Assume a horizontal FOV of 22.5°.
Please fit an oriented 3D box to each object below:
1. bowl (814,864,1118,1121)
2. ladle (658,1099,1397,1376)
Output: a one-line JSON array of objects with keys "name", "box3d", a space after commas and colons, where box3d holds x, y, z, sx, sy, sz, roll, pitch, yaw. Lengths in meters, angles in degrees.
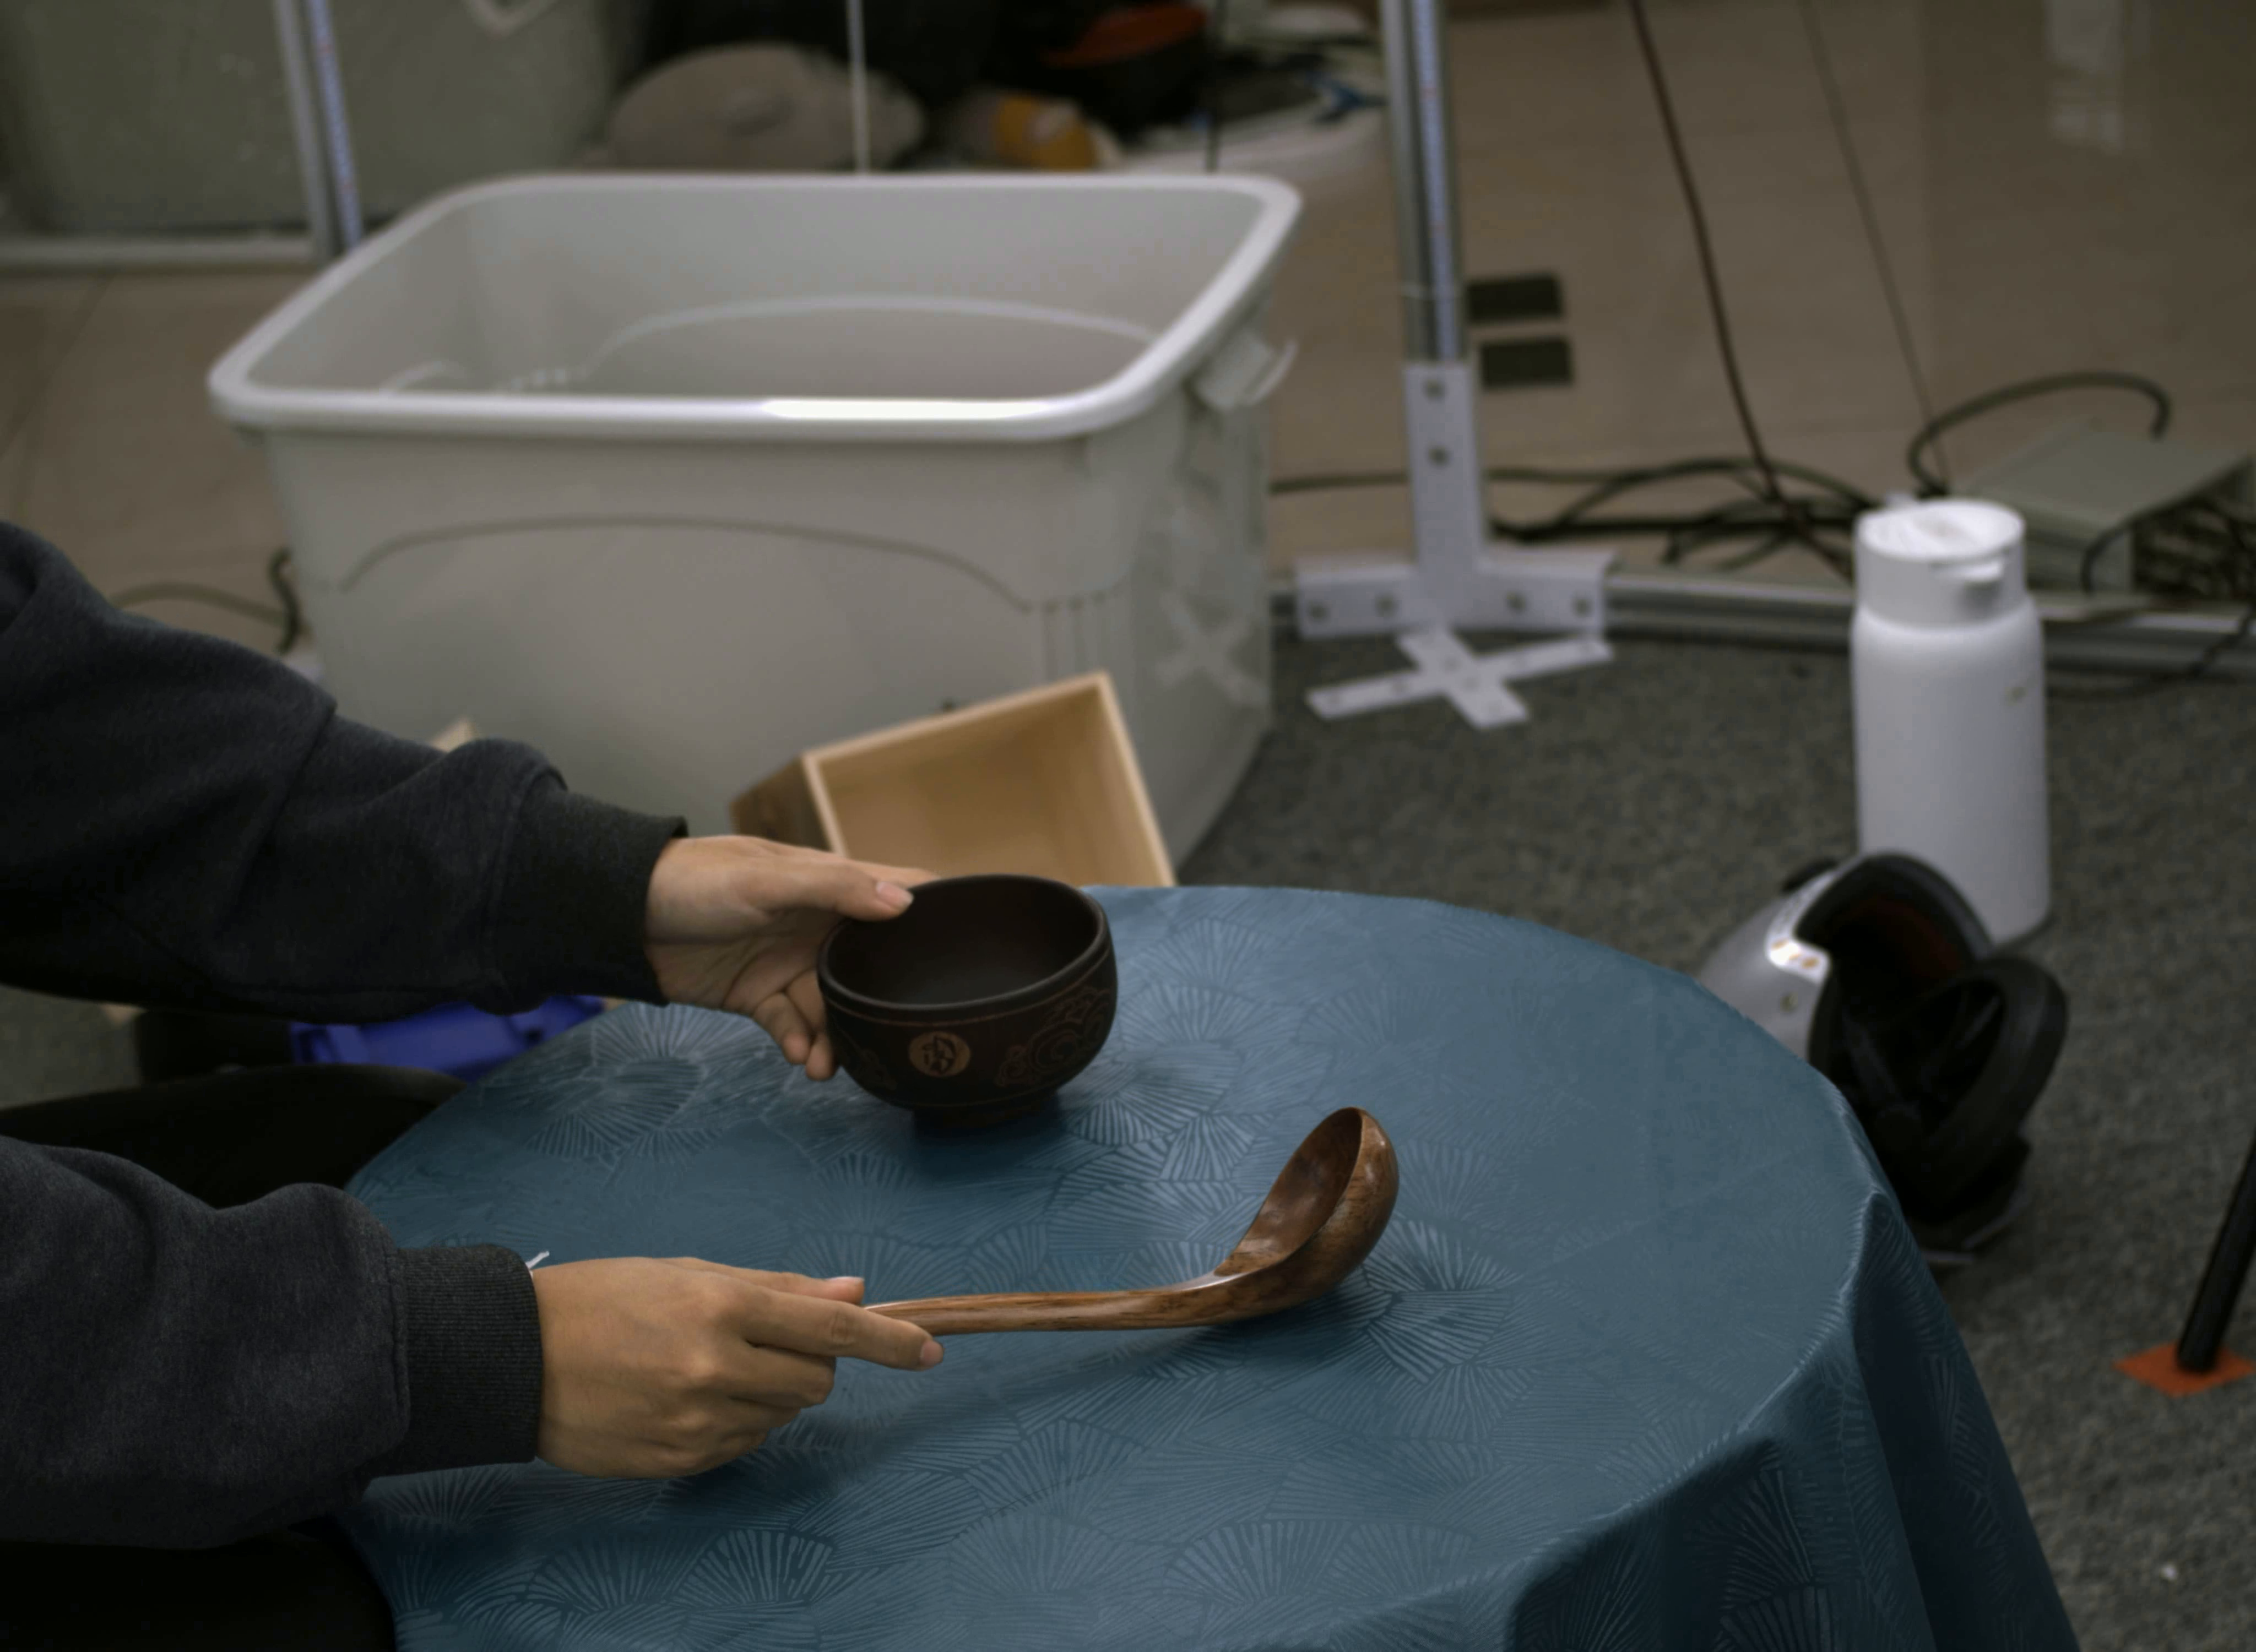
[{"name": "bowl", "box3d": [-0.061, 0.072, 2.215, 0.118, 0.071, 0.116, -6, 27, 3]}, {"name": "ladle", "box3d": [-0.035, 0.145, 2.020, 0.273, 0.076, 0.082, -4, -3, -16]}]
